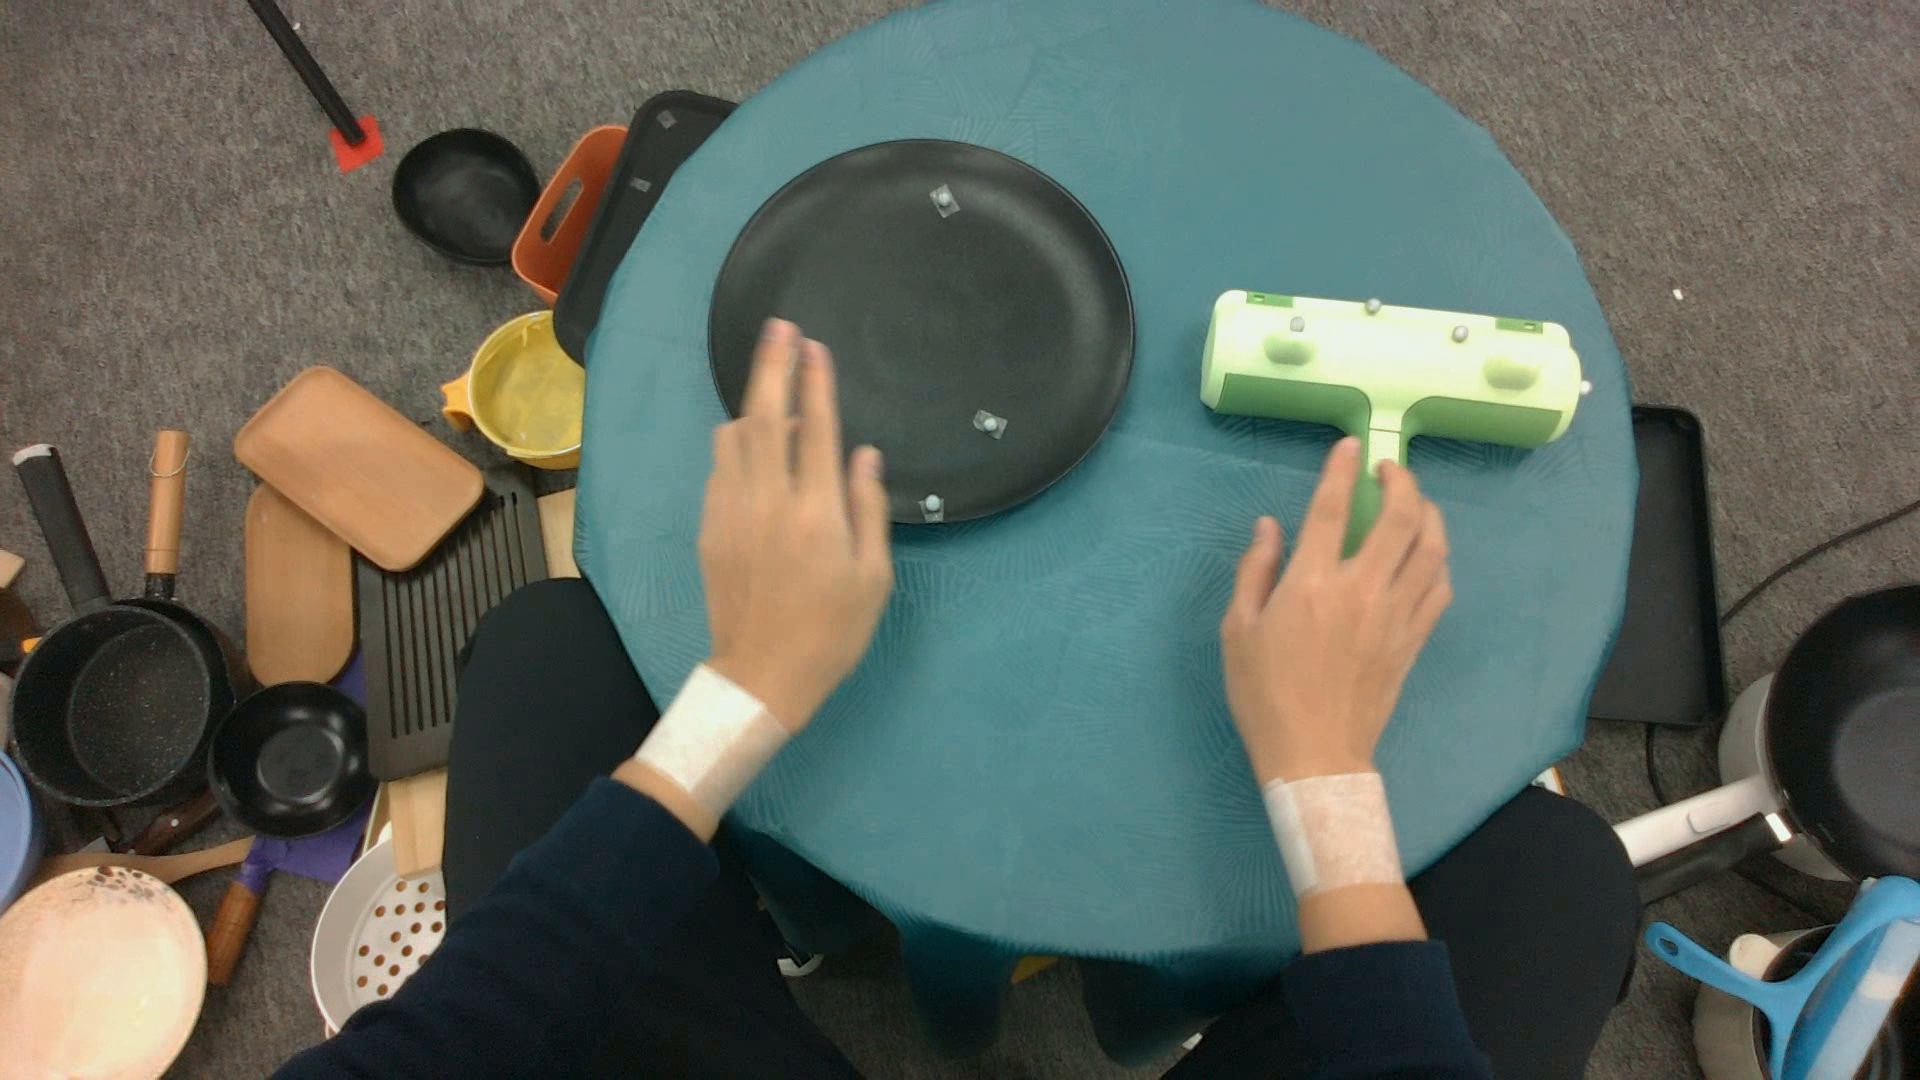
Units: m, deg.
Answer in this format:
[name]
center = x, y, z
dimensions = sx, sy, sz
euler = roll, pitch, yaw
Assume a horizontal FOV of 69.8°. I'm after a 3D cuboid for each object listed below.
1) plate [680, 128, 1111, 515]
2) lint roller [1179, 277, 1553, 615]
[plate]
center = -0.036, -0.126, 0.787
dimensions = 0.244, 0.023, 0.245
euler = 0, 72, -1
[lint roller]
center = 0.218, -0.057, 0.735
dimensions = 0.198, 0.082, 0.184
euler = 5, 65, 2
